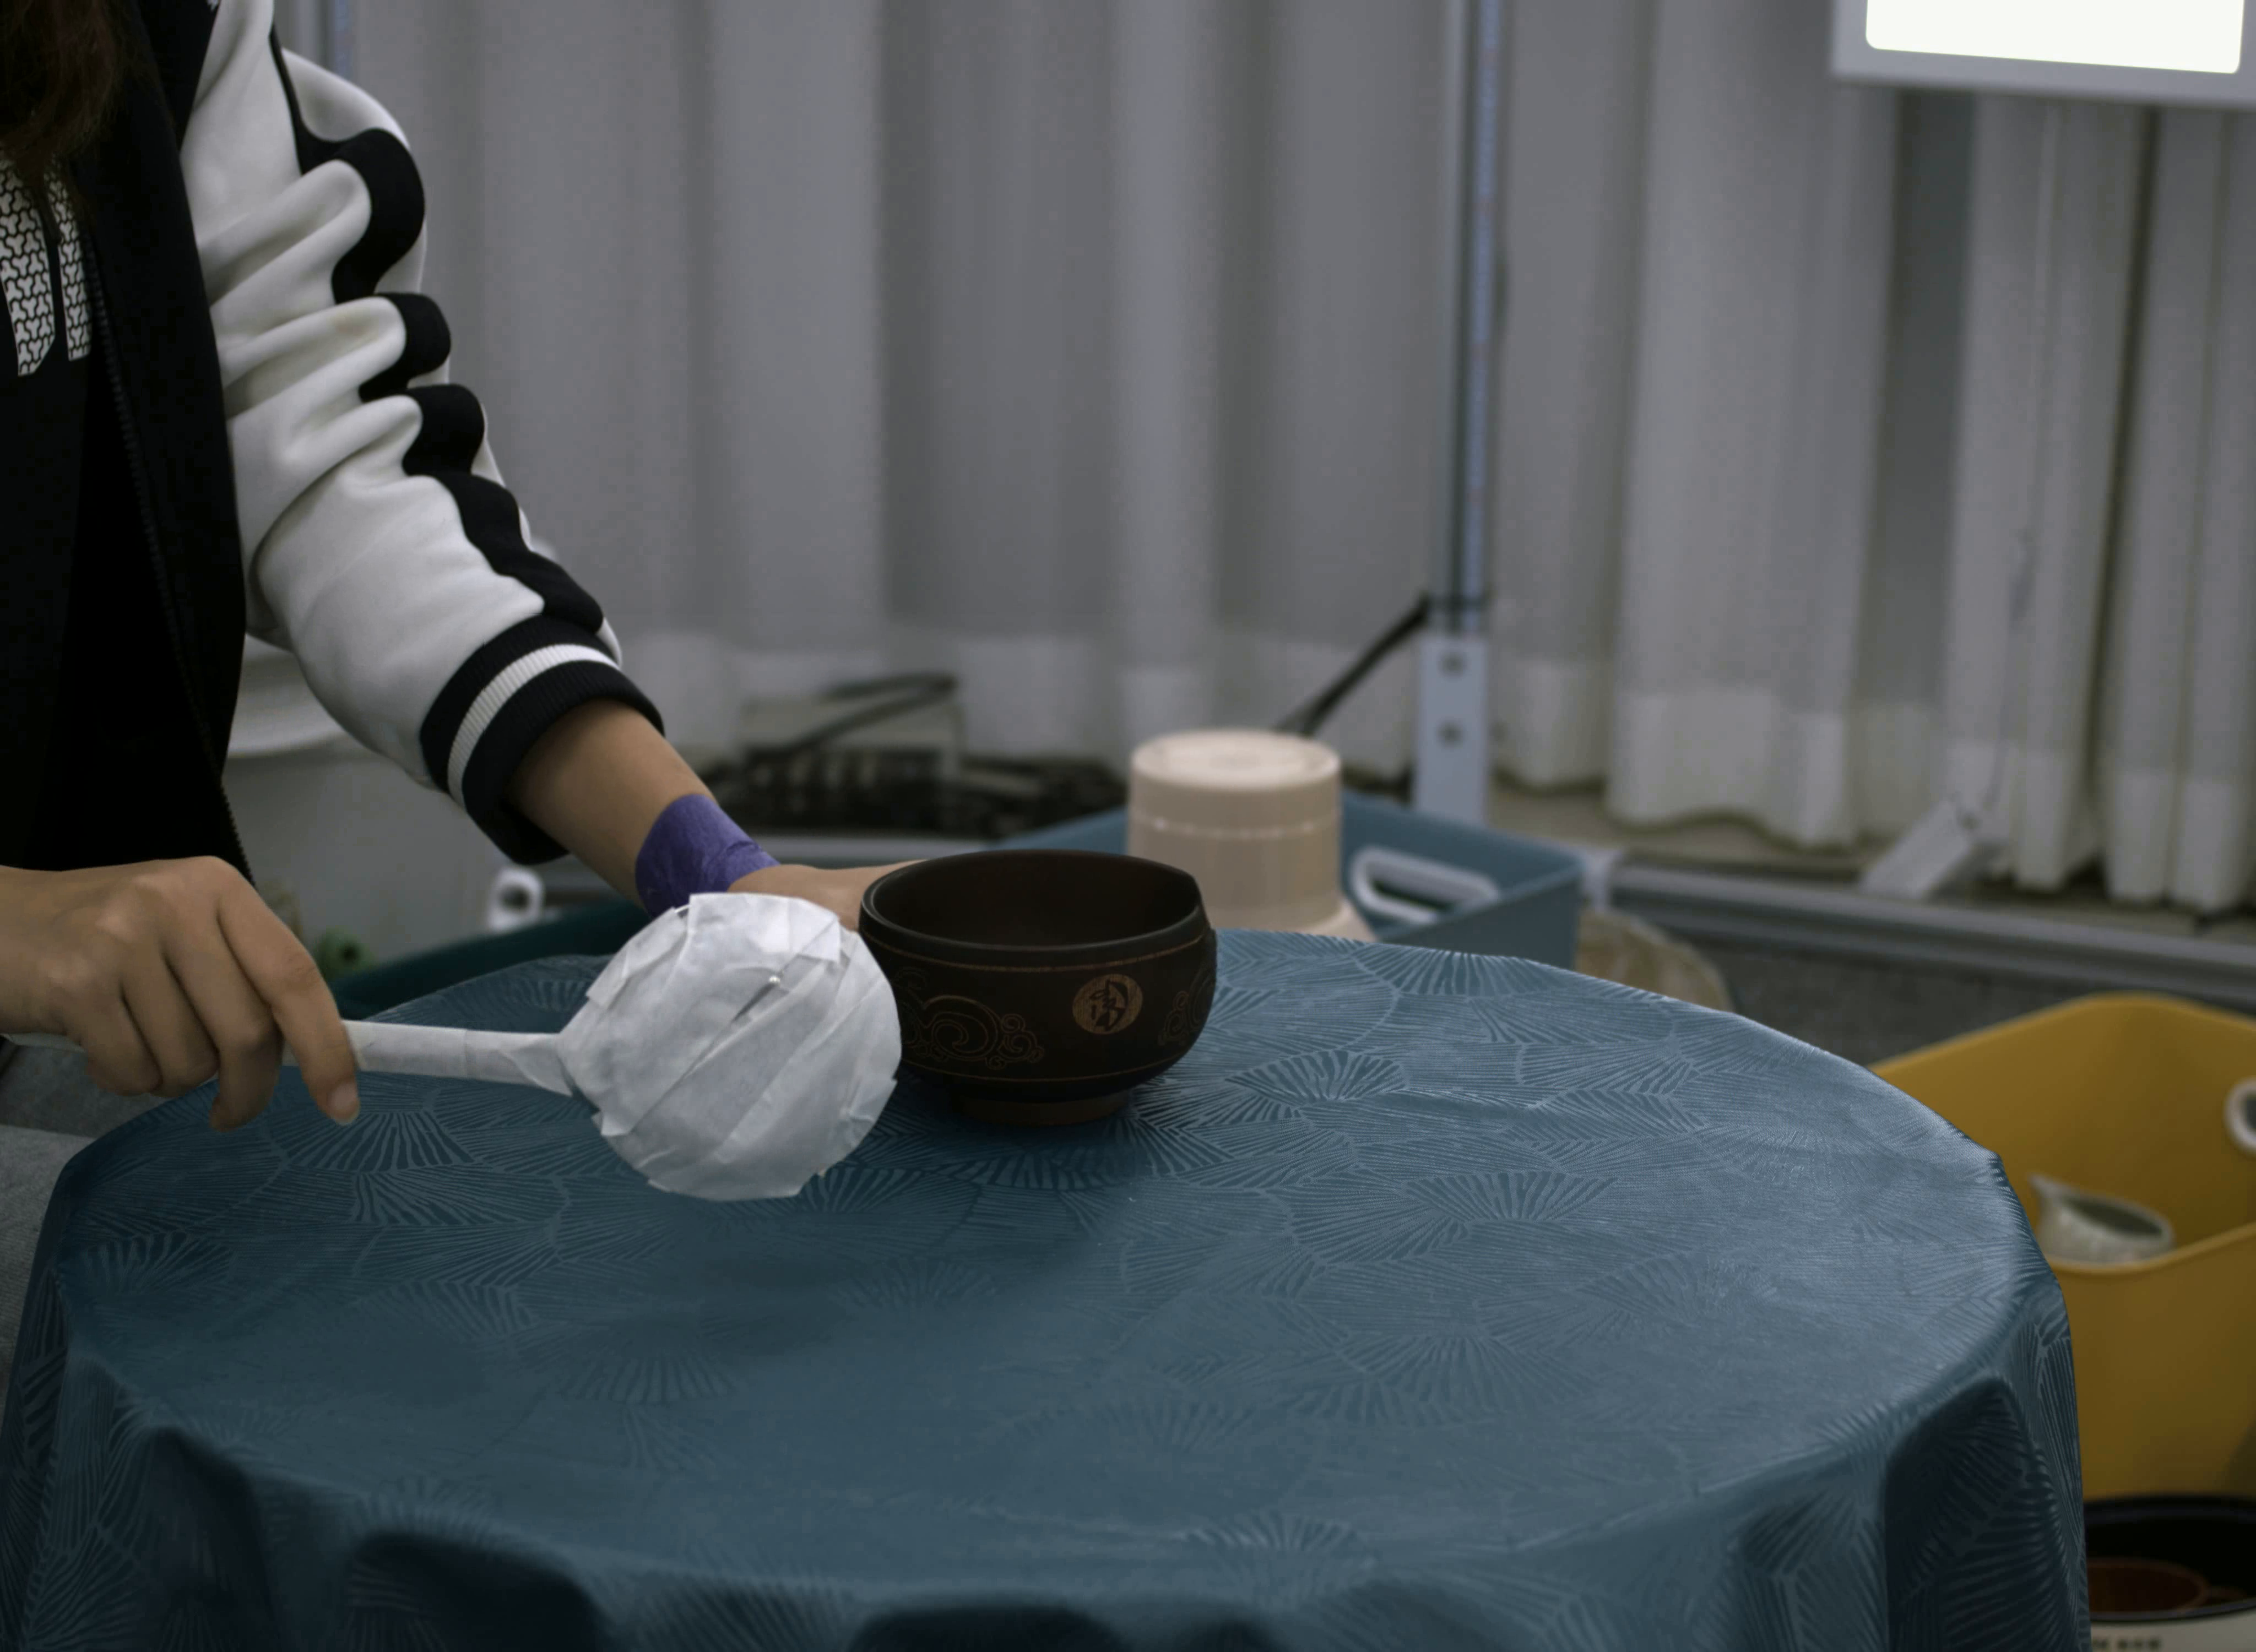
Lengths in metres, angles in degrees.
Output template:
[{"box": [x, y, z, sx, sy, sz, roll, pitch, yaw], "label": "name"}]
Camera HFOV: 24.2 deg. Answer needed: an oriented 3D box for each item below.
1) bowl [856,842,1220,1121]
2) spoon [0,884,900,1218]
[{"box": [-0.029, 0.054, 1.695, 0.117, 0.070, 0.117, 1, 16, 0], "label": "bowl"}, {"box": [-0.204, 0.065, 1.550, 0.275, 0.101, 0.059, 1, 12, 21], "label": "spoon"}]
